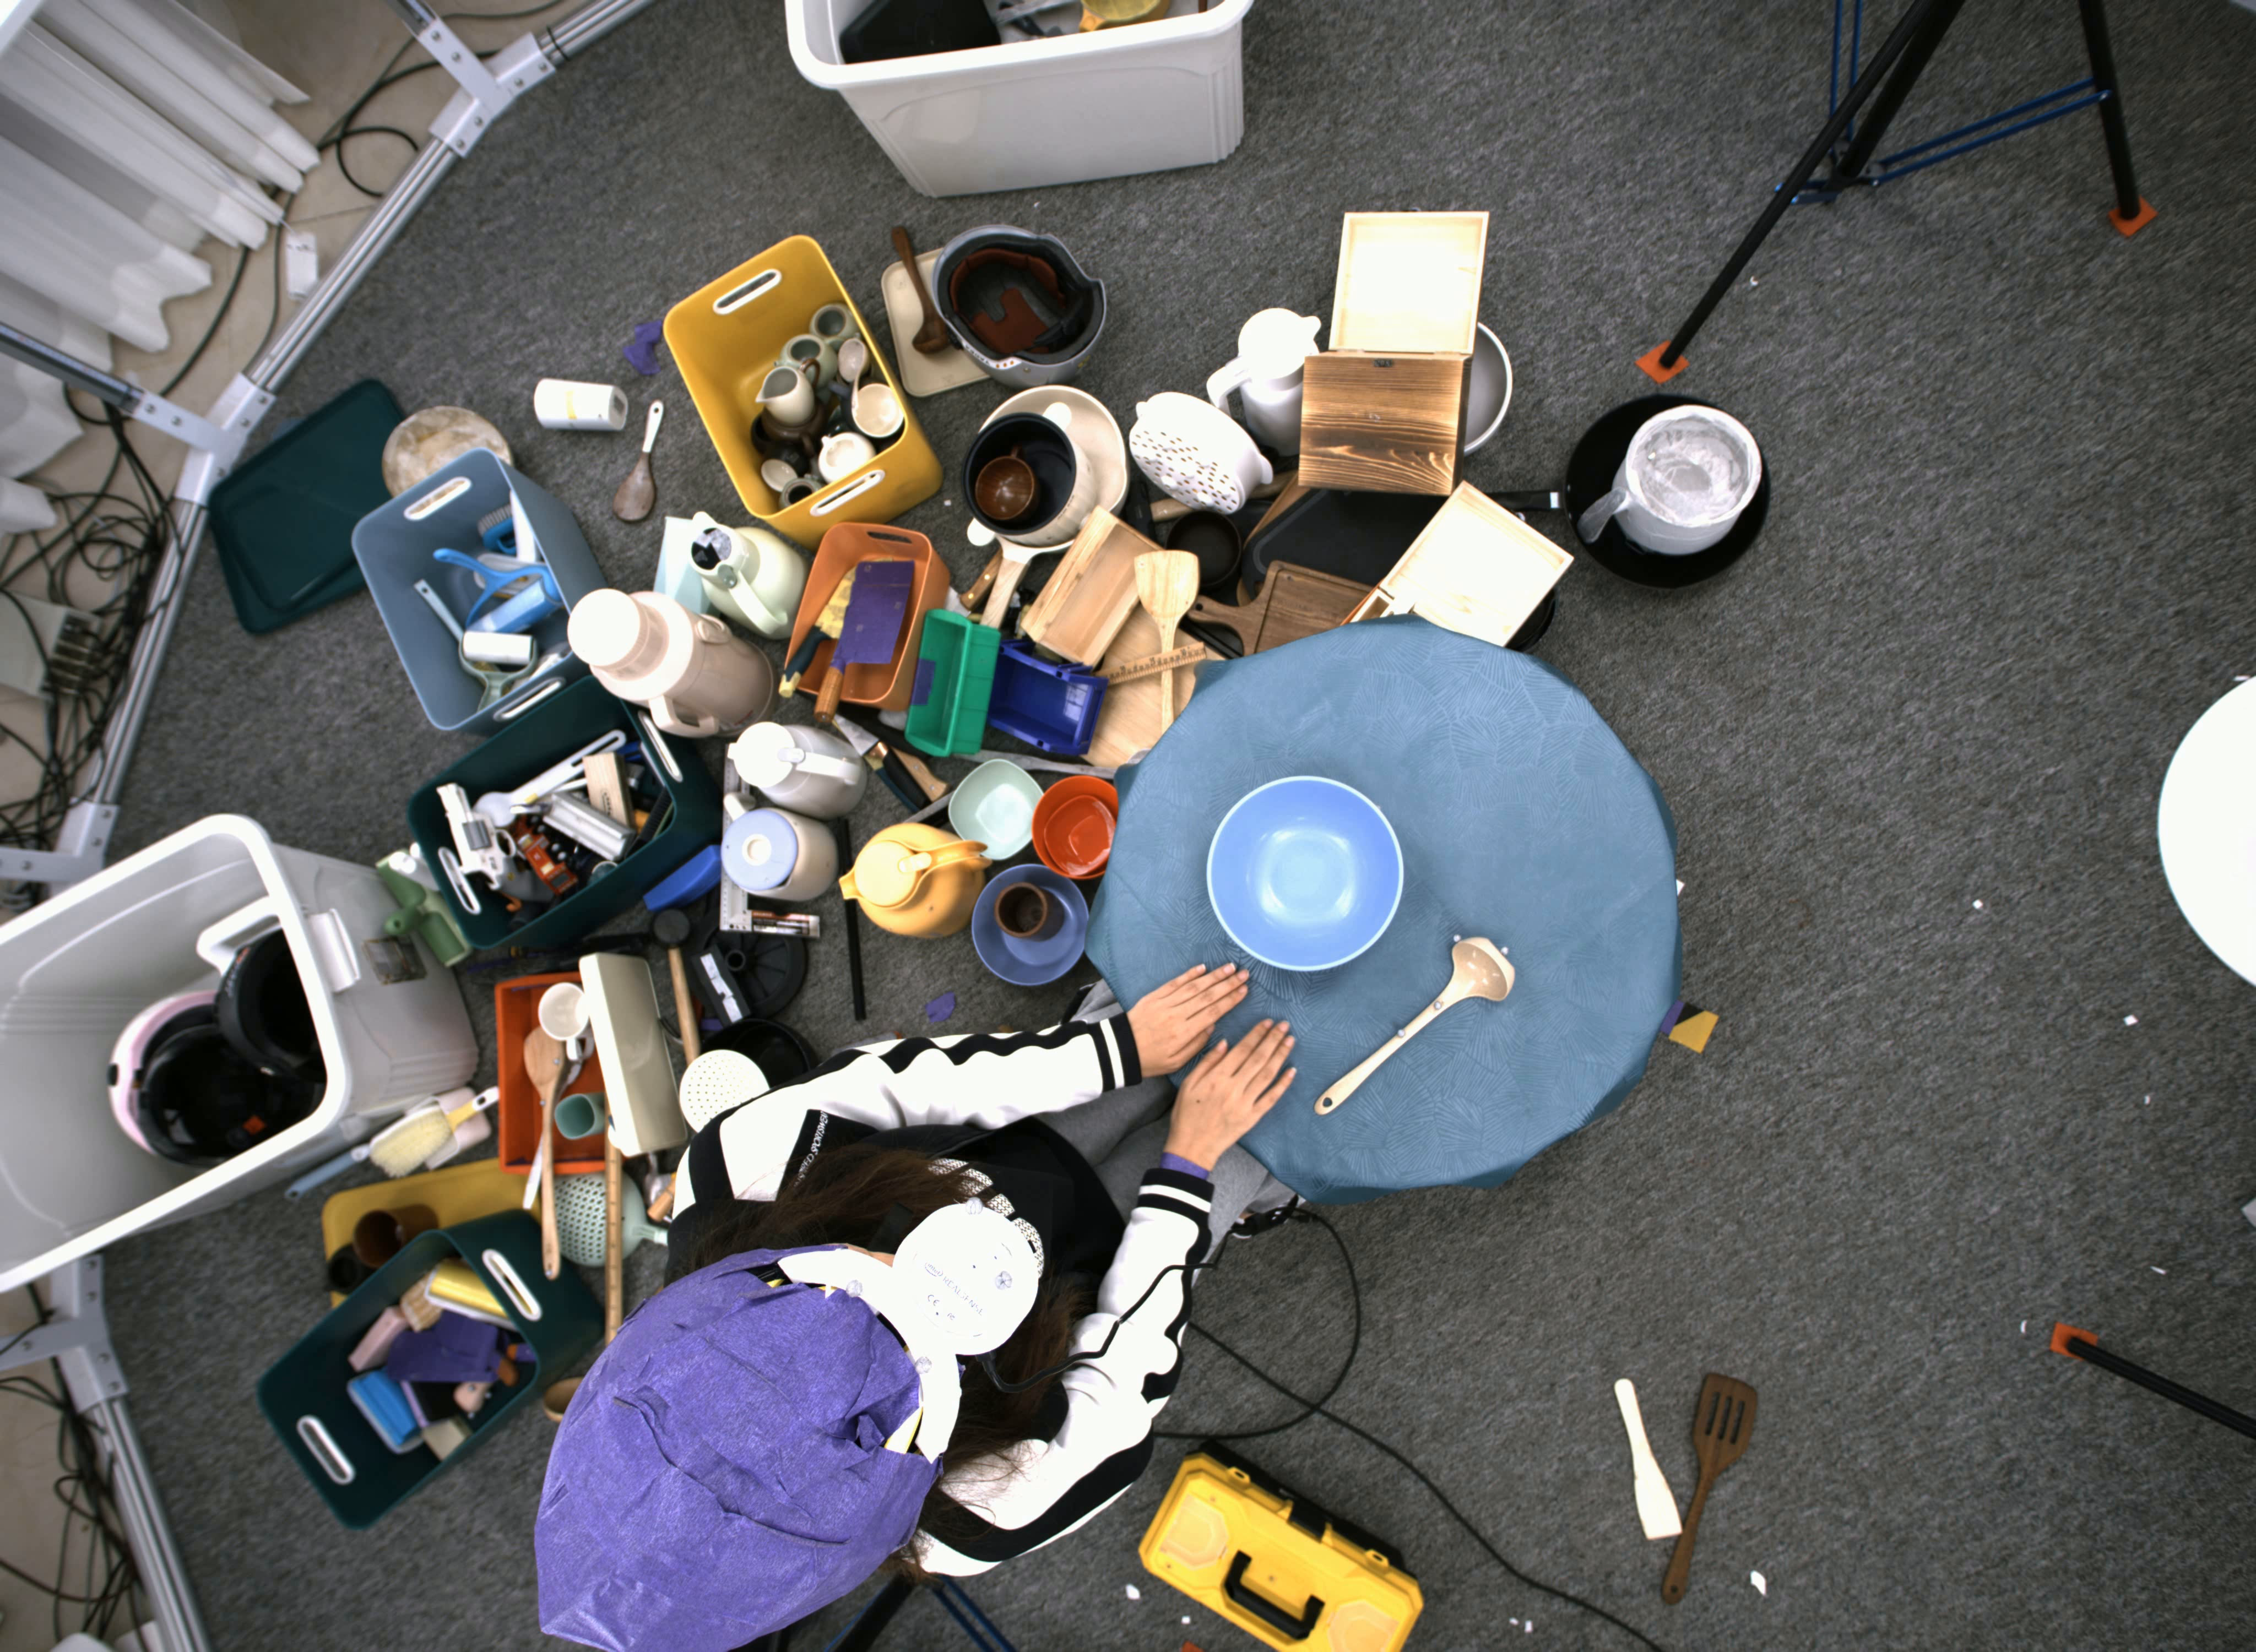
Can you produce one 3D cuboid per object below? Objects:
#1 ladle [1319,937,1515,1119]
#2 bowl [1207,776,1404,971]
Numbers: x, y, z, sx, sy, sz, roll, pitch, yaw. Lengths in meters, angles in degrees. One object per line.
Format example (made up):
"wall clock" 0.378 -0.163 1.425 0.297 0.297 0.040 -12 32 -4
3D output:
"ladle" 0.288 0.212 1.412 0.255 0.073 0.072 -44 79 5
"bowl" 0.184 0.050 1.432 0.197 0.095 0.196 -1 87 9
